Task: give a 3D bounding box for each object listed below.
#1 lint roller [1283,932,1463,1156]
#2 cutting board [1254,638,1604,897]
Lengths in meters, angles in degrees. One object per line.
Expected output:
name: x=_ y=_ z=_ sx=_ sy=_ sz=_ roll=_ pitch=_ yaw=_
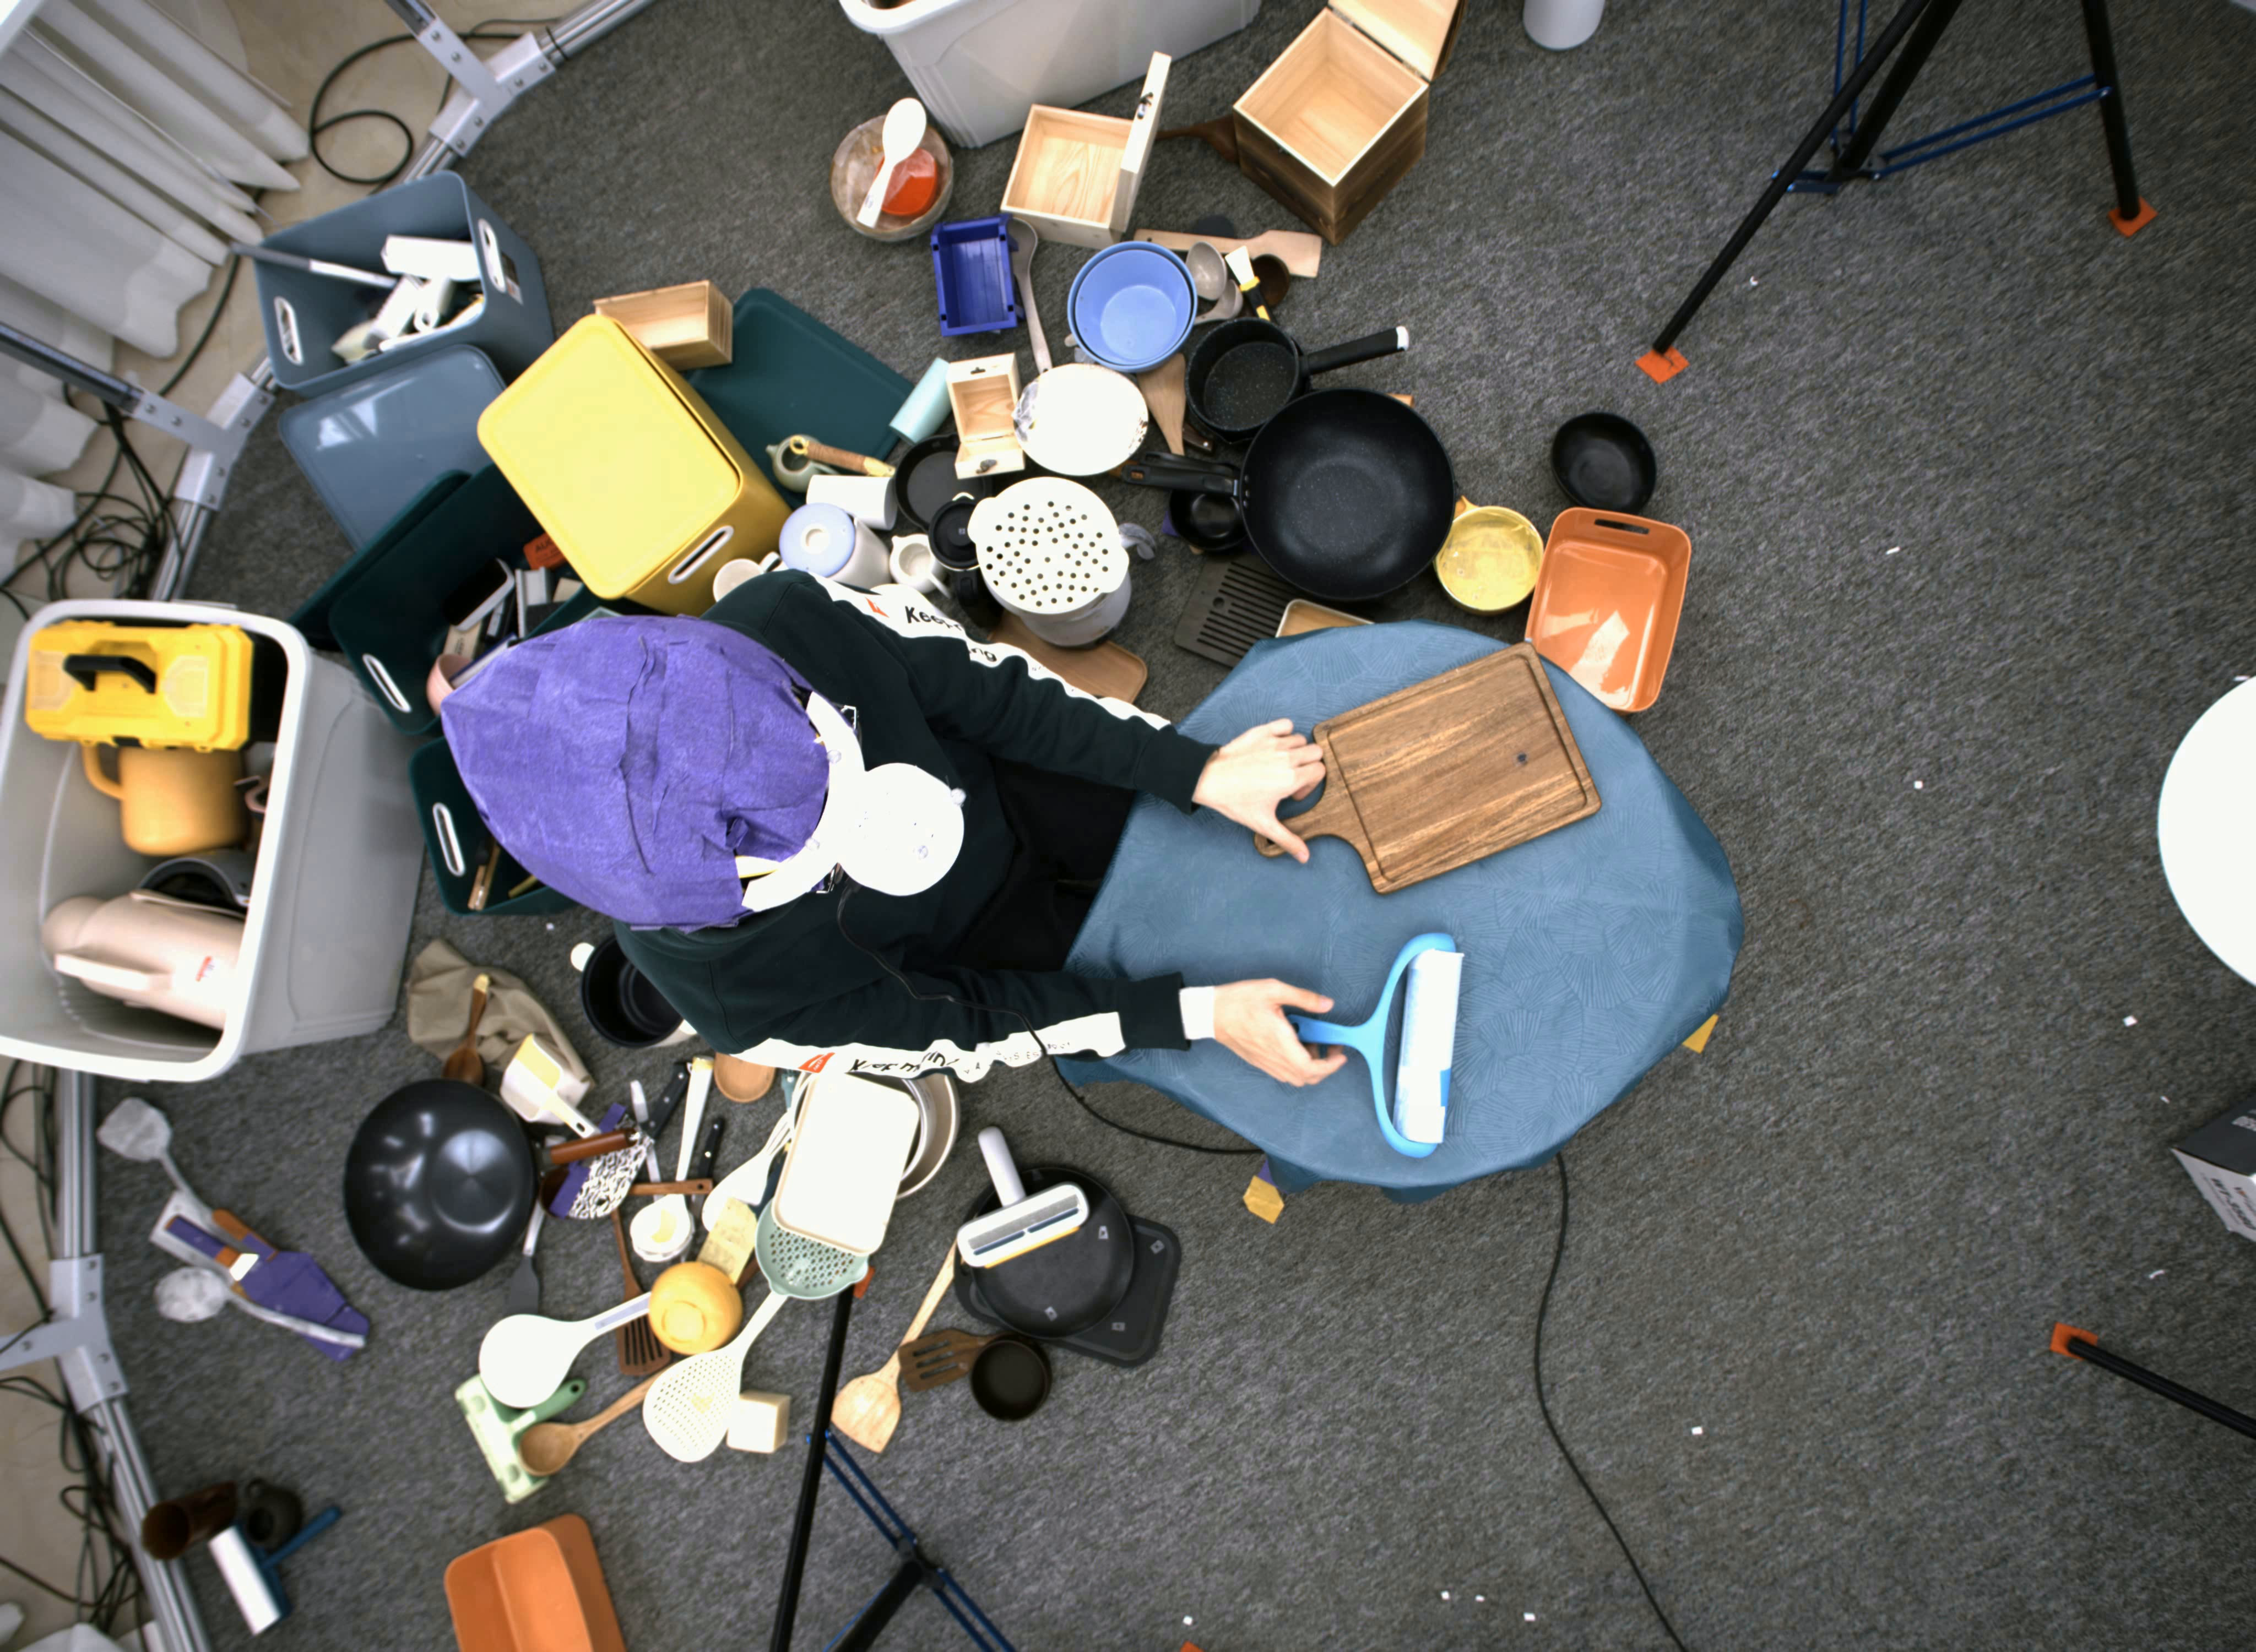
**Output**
lint roller: x=0.249 y=0.218 z=1.423 sx=0.181 sy=0.068 sz=0.228 roll=3 pitch=89 yaw=9
cutting board: x=0.296 y=-0.045 z=1.445 sx=0.354 sy=0.023 sz=0.200 roll=-23 pitch=83 yaw=8
